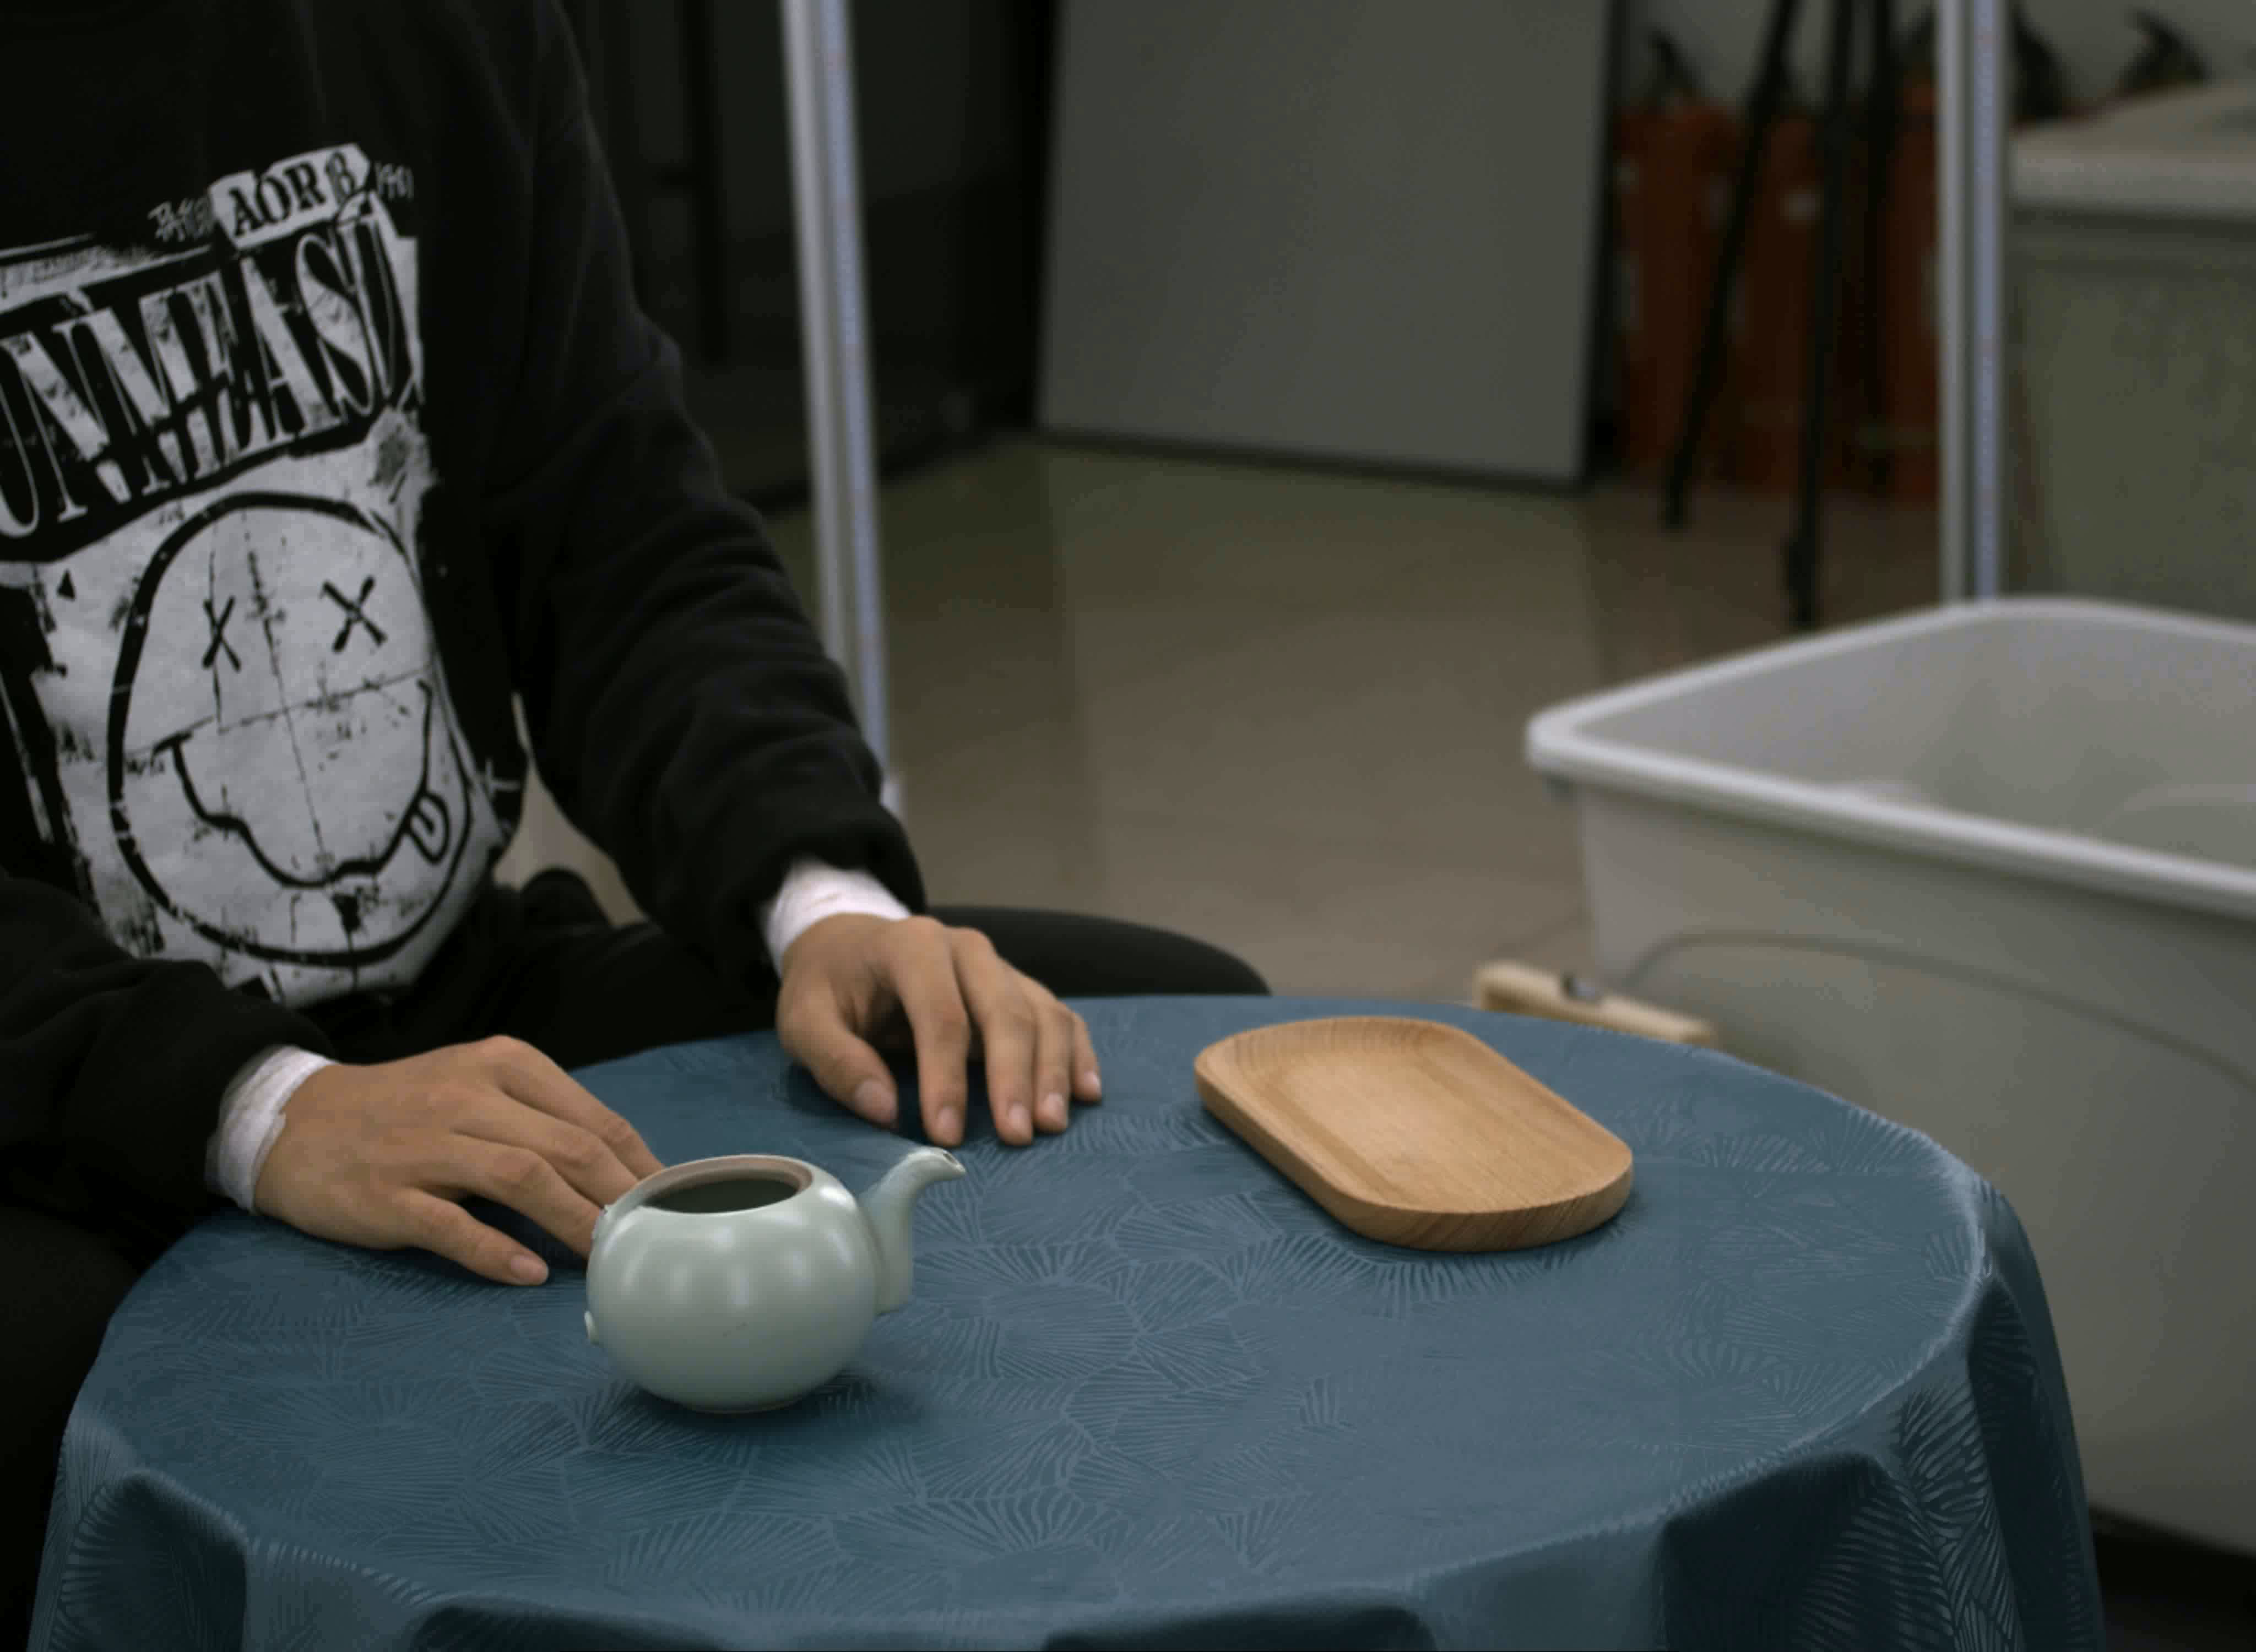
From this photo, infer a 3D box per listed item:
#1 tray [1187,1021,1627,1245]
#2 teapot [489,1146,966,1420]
[{"bbox_3d":[0.091,0.101,1.796,0.099,0.020,0.233,-7,12,-17],"label":"tray"},{"bbox_3d":[-0.117,0.135,1.605,0.142,0.075,0.088,-2,13,1],"label":"teapot"}]
